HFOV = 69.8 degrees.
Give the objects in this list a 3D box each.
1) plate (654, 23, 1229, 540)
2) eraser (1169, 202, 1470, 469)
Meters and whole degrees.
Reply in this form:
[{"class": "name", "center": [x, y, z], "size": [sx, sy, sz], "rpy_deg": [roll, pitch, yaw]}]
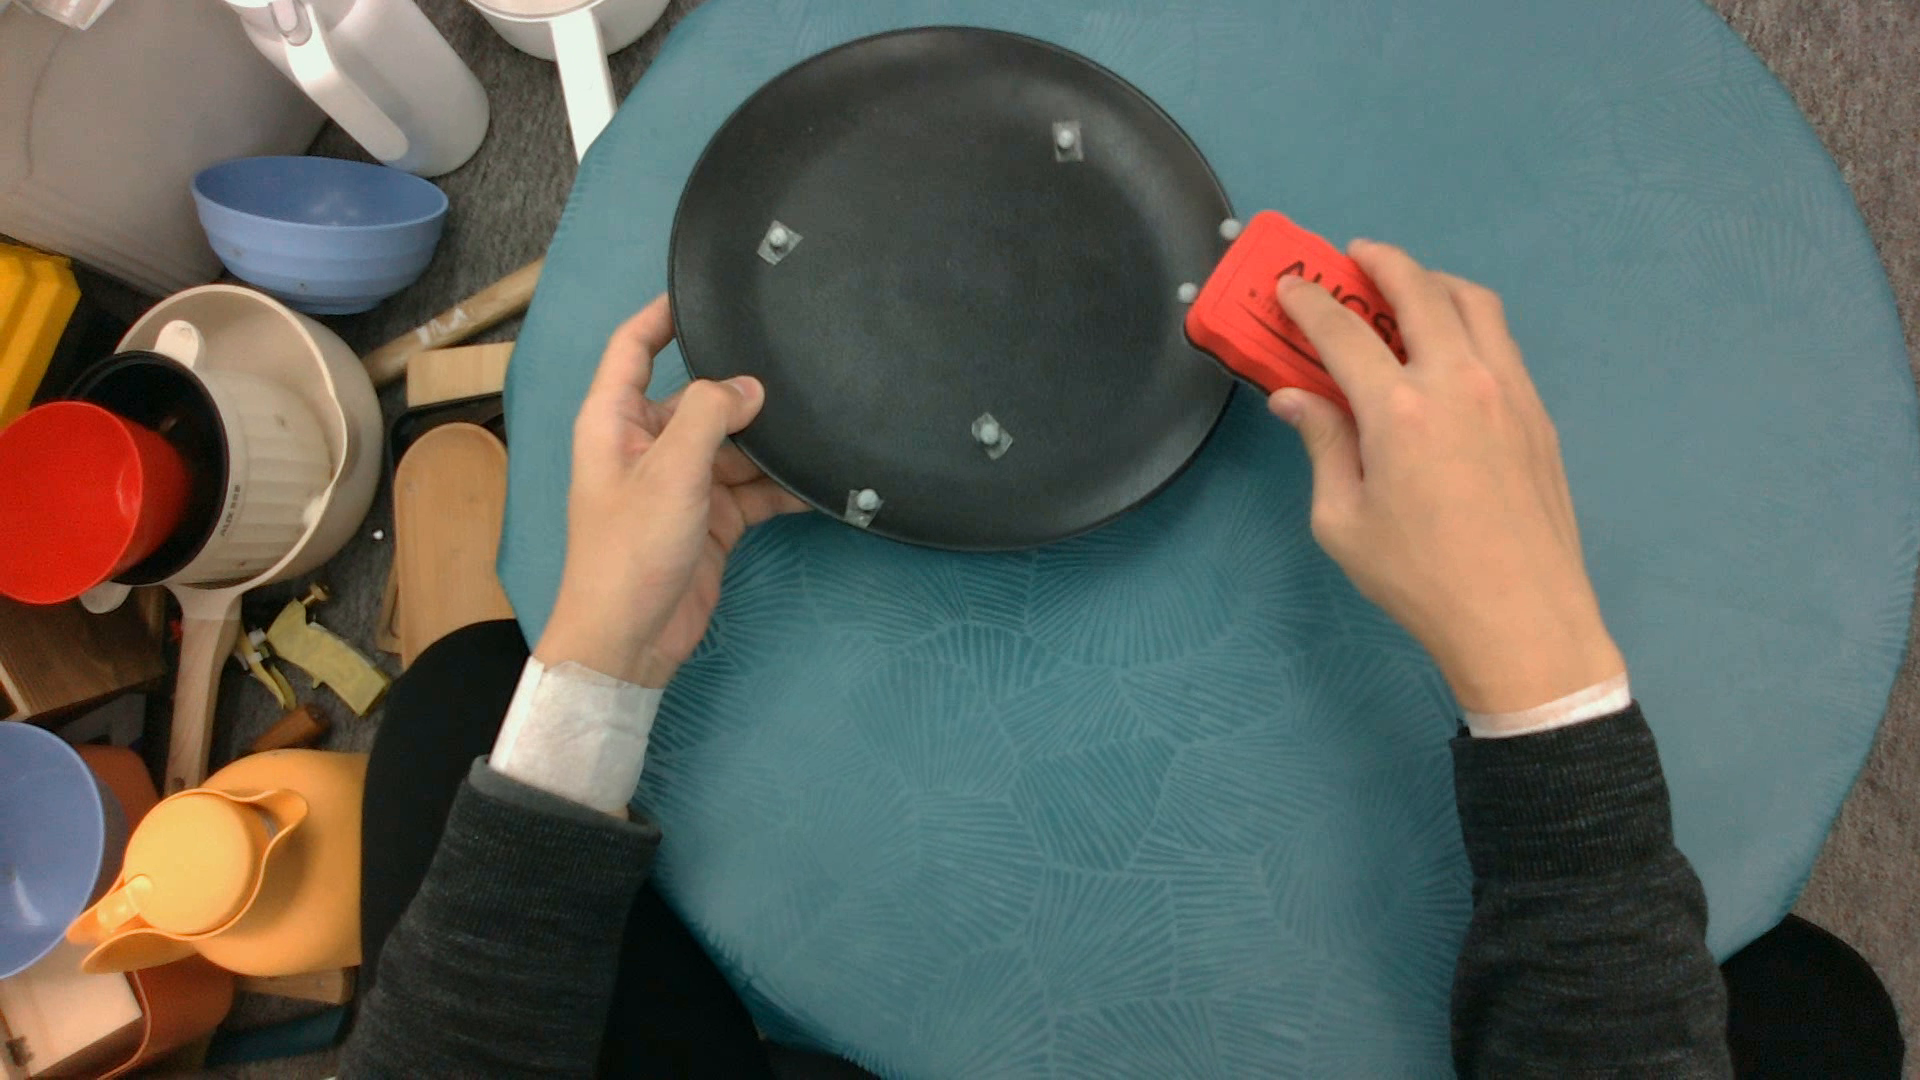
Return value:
[{"class": "plate", "center": [-0.004, -0.112, 0.580], "size": [0.244, 0.023, 0.245], "rpy_deg": [2, 70, -6]}, {"class": "eraser", "center": [0.138, -0.079, 0.530], "size": [0.108, 0.023, 0.059], "rpy_deg": [34, 75, 1]}]
